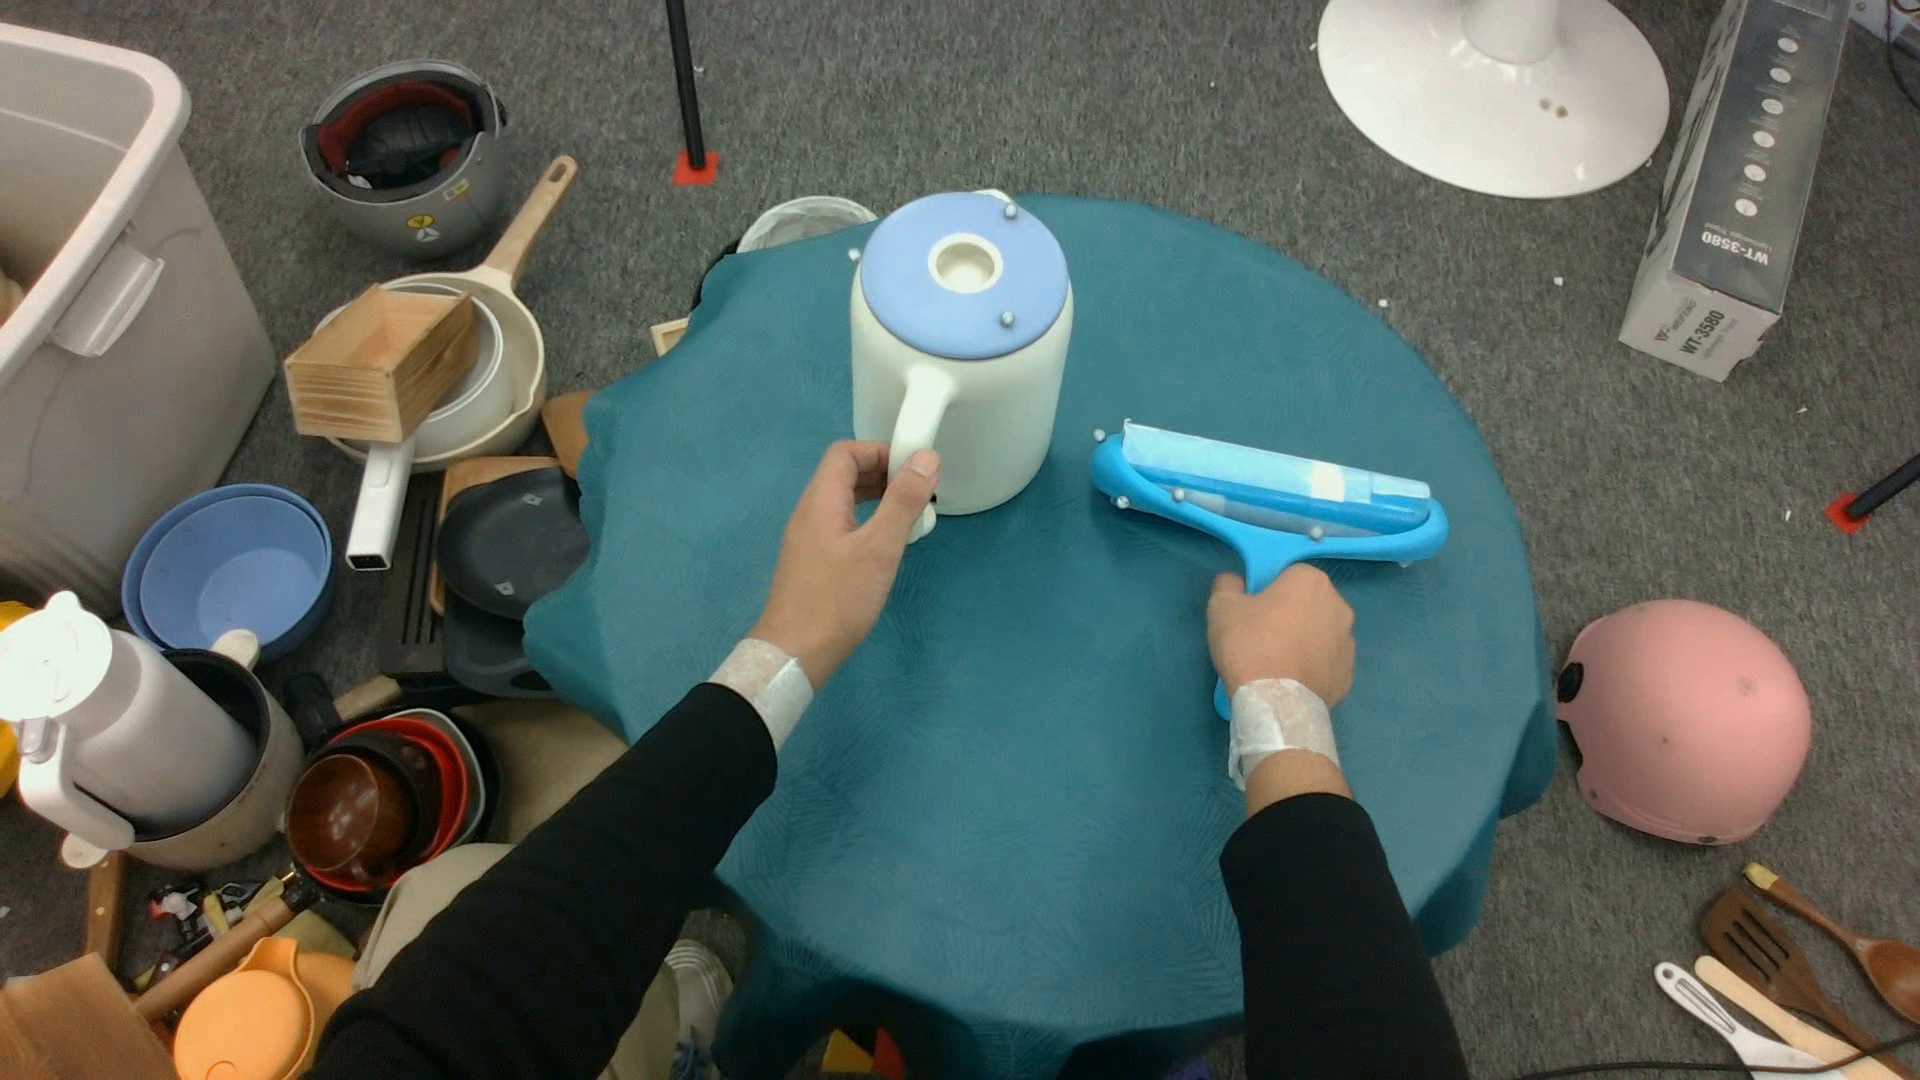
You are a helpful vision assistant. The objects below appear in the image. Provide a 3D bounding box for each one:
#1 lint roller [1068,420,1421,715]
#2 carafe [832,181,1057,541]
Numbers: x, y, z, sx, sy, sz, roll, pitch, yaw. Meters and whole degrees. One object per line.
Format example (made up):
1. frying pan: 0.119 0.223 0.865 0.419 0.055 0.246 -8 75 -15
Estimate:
1. lint roller: 0.173 0.016 0.851 0.229 0.067 0.181 12 55 -1
2. carafe: -0.018 -0.094 0.834 0.132 0.182 0.192 14 63 4
